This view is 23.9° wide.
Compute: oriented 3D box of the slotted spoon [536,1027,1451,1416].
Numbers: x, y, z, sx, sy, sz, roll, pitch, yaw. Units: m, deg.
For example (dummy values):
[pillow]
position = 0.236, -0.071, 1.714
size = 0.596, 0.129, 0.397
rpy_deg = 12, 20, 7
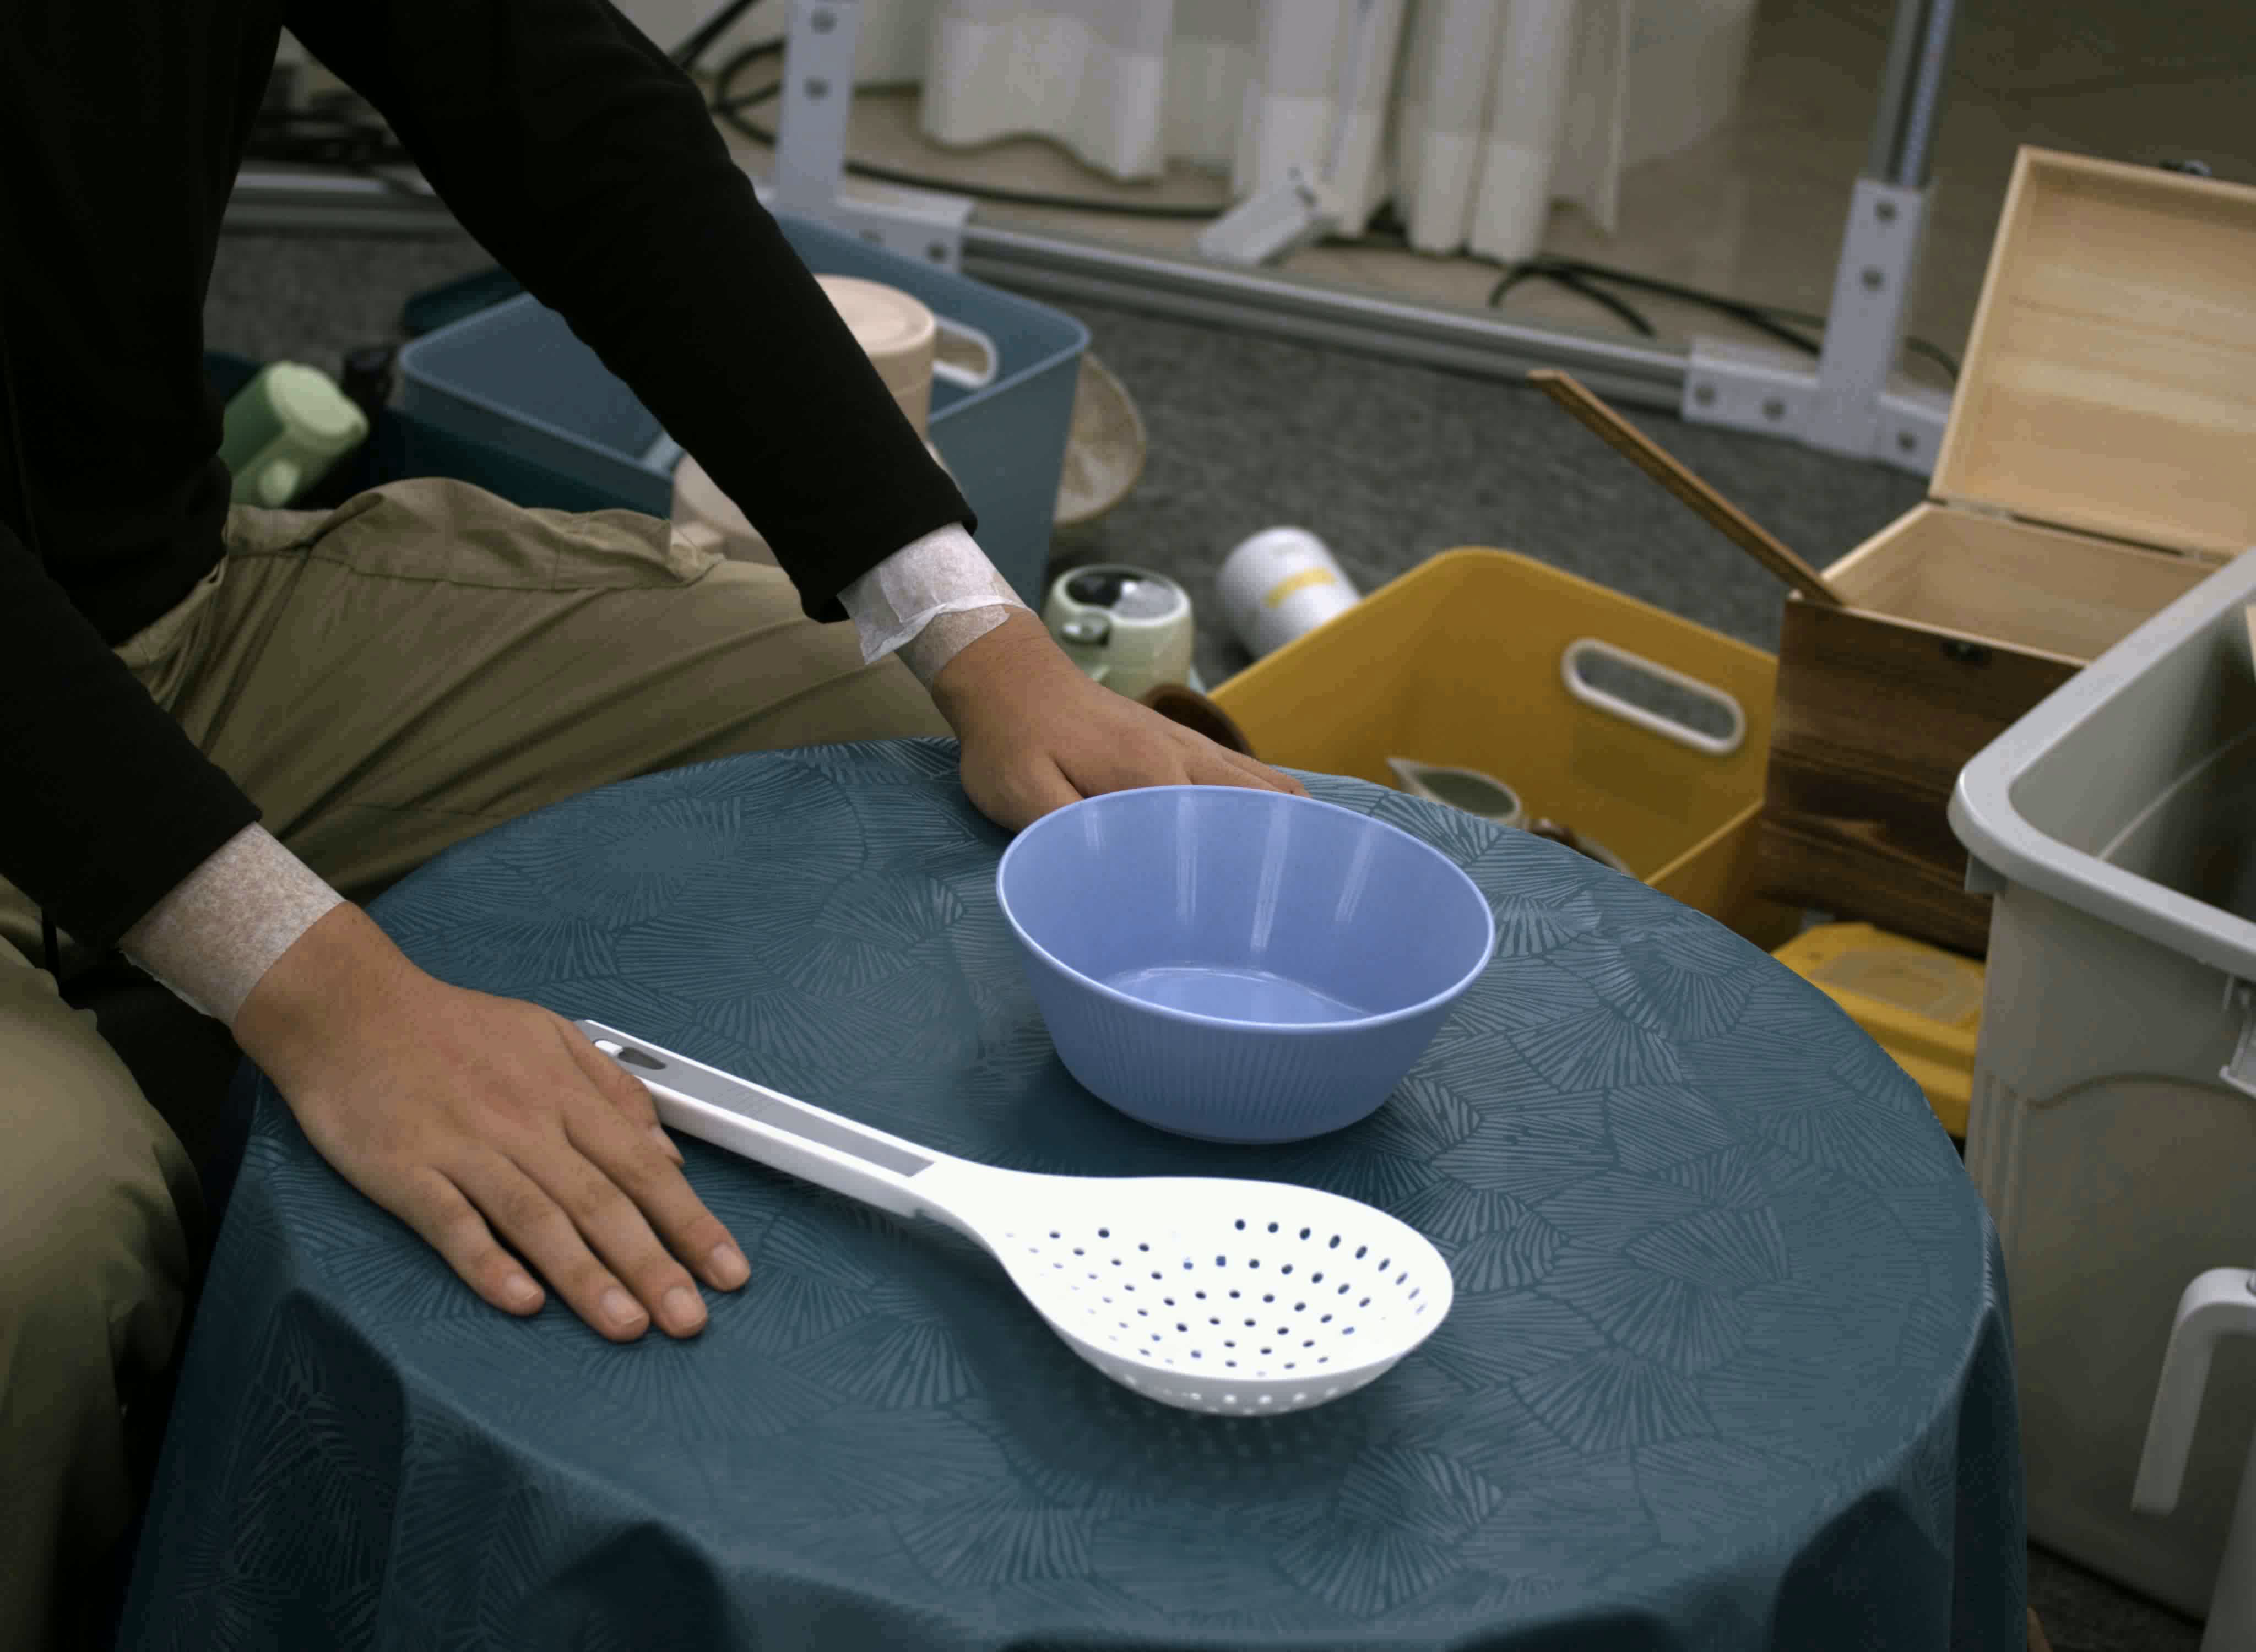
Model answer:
[slotted spoon]
position = -0.054, 0.122, 1.743
size = 0.352, 0.045, 0.135
rpy_deg = 21, 30, 29

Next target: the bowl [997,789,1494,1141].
[bowl]
position = 0.038, 0.054, 1.870
size = 0.175, 0.070, 0.177
rpy_deg = 5, 26, -3
